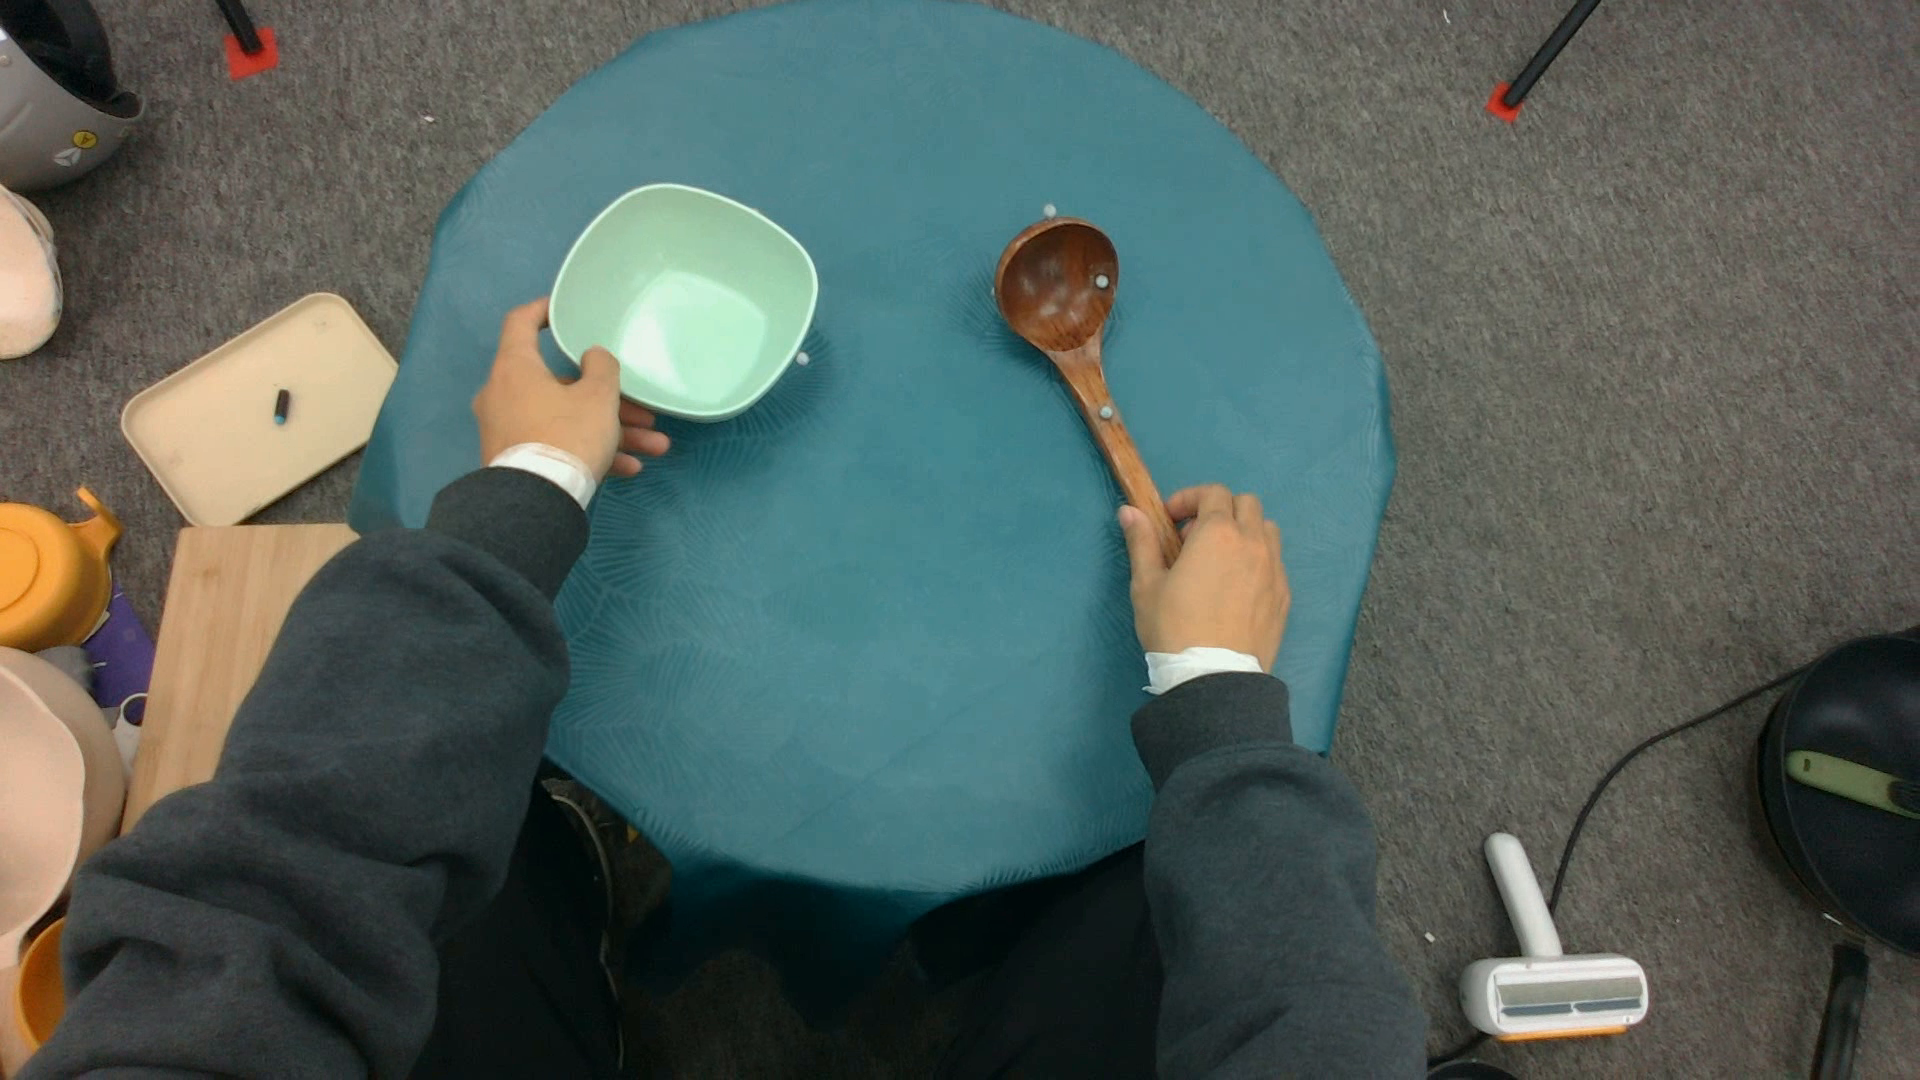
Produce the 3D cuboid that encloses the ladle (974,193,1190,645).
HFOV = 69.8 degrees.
[{"bbox_3d":[0.083,-0.075,0.805,0.082,0.076,0.274,-18,73,-9],"label":"ladle"}]

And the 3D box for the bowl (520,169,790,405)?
[{"bbox_3d":[-0.174,-0.136,0.797,0.151,0.058,0.152,4,67,-9],"label":"bowl"}]
